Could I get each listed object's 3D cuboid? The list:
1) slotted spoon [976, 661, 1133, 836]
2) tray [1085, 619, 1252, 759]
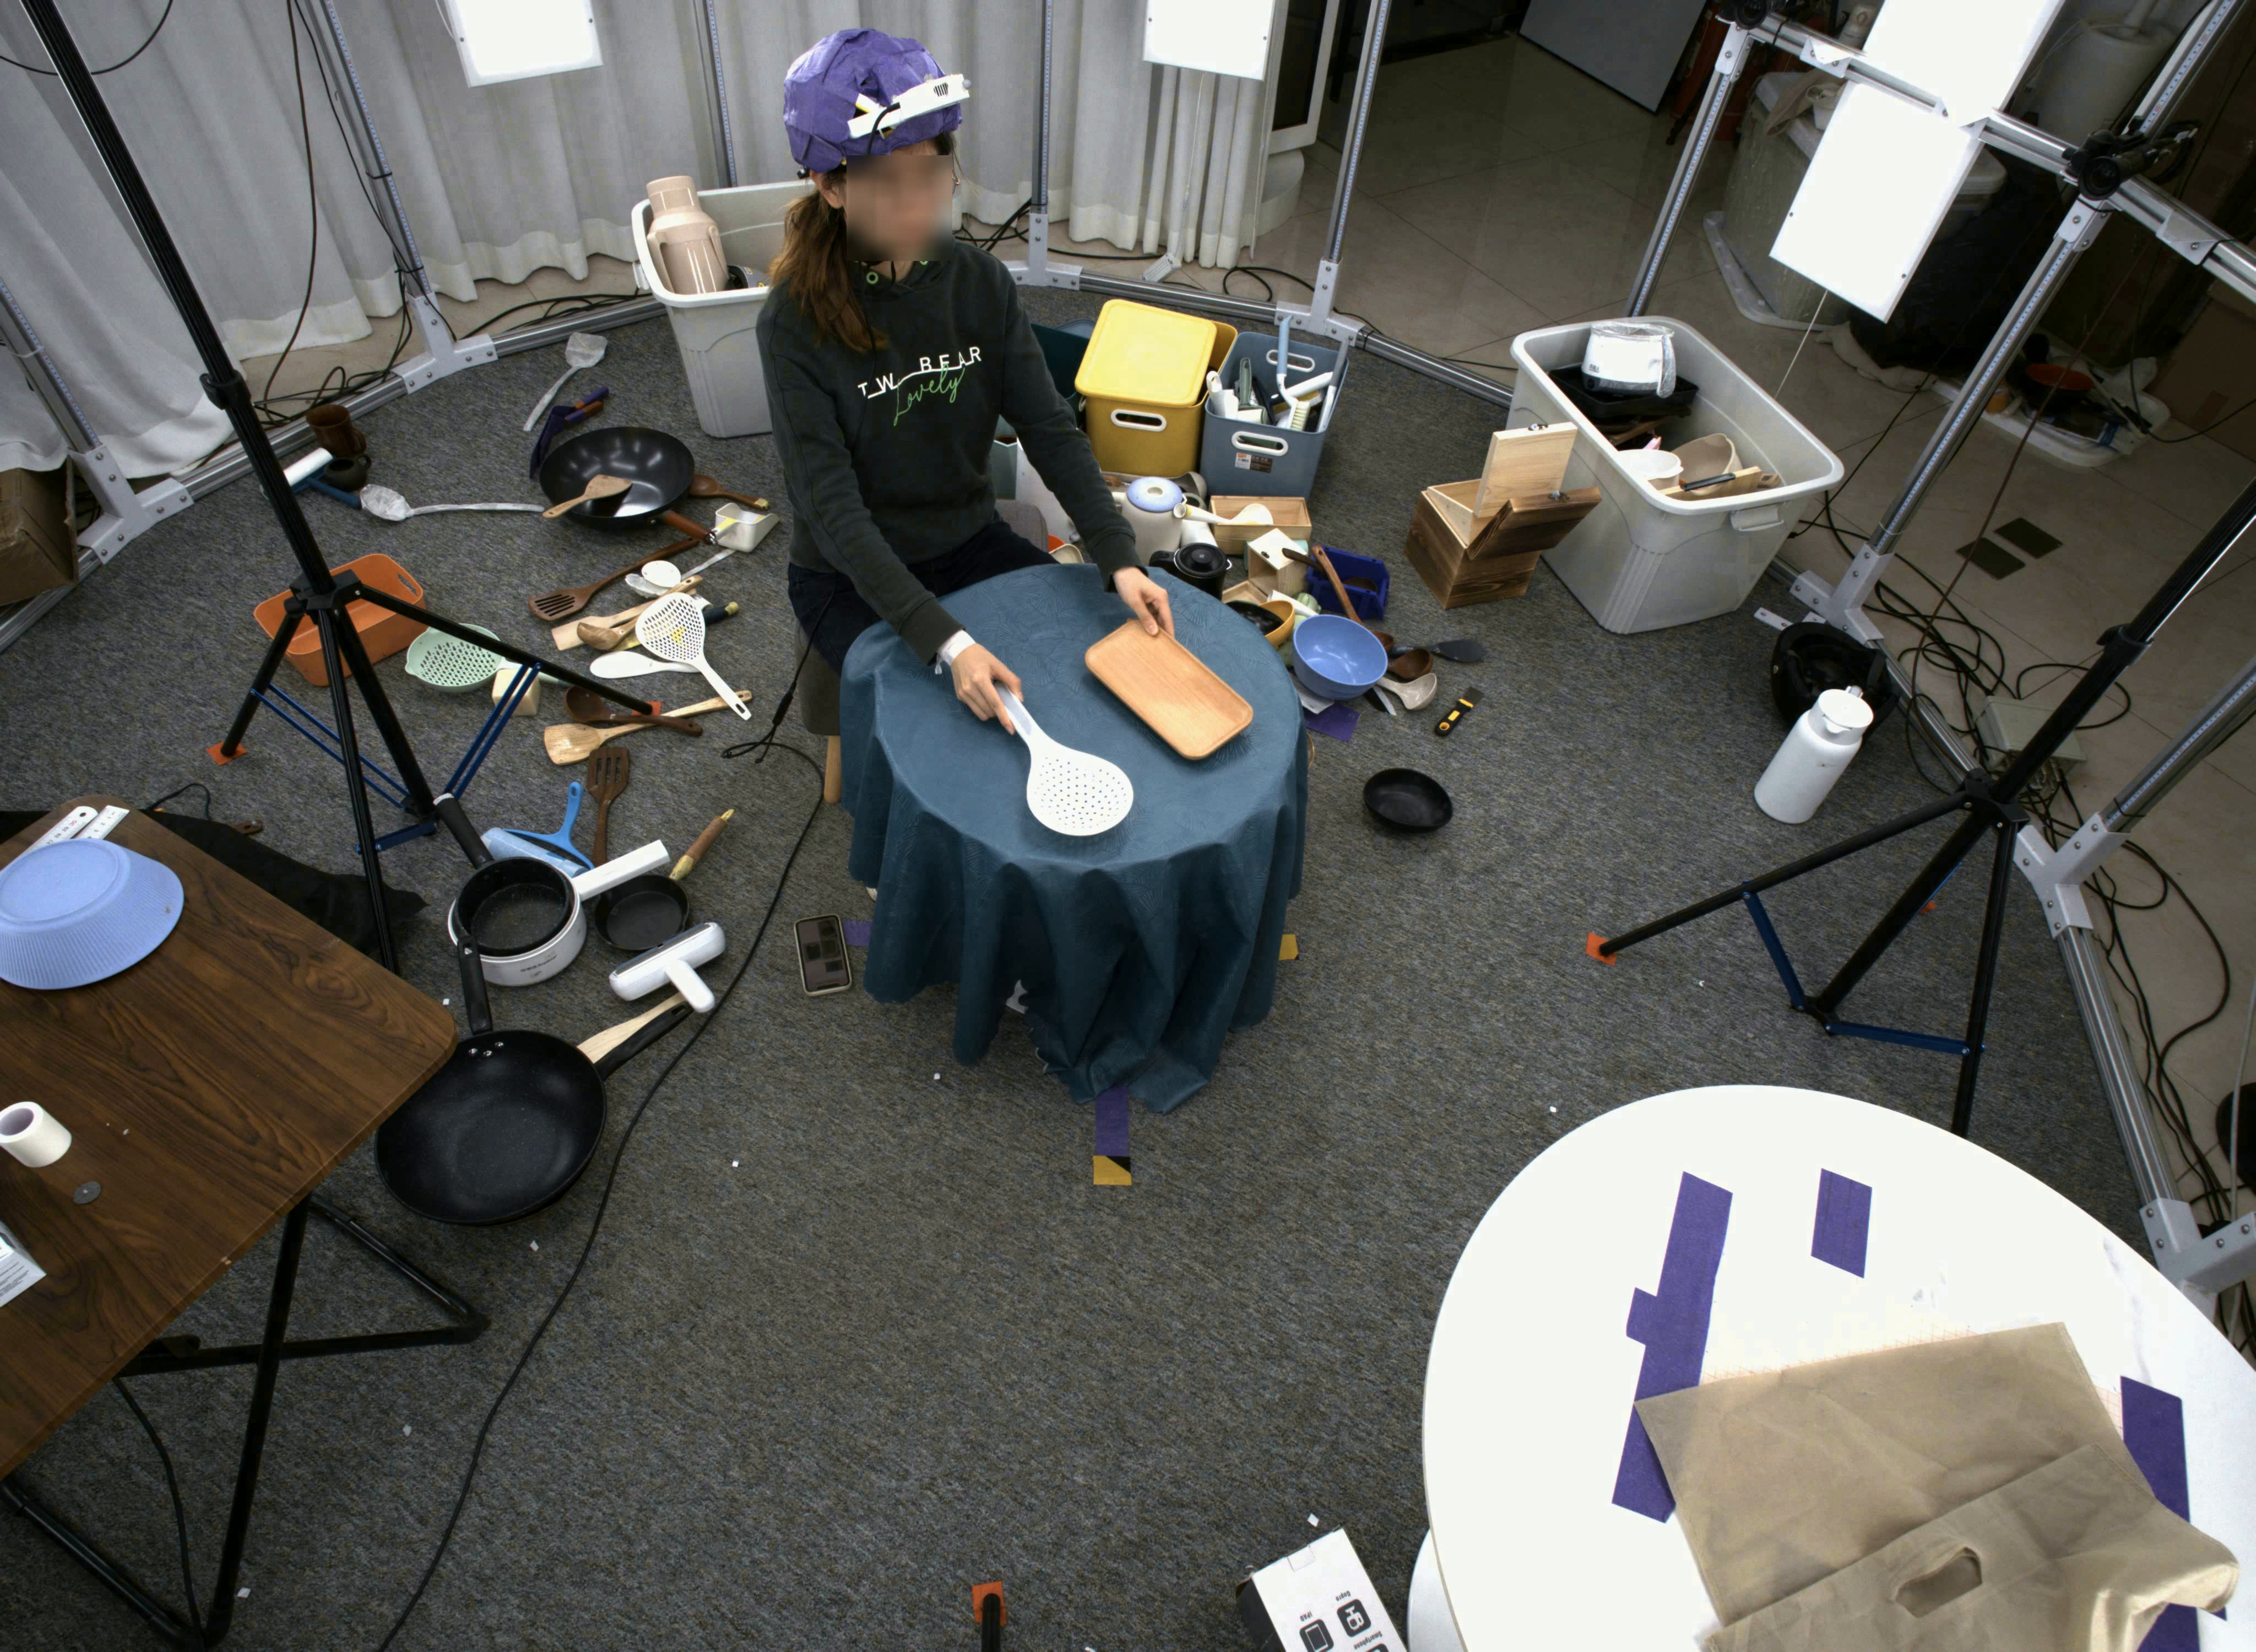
[{"bbox_3d":[-0.117,-0.110,1.729,0.136,0.044,0.357,-22,58,-21],"label":"slotted spoon"},{"bbox_3d":[0.055,-0.197,1.820,0.131,0.022,0.255,-34,59,-21],"label":"tray"}]
